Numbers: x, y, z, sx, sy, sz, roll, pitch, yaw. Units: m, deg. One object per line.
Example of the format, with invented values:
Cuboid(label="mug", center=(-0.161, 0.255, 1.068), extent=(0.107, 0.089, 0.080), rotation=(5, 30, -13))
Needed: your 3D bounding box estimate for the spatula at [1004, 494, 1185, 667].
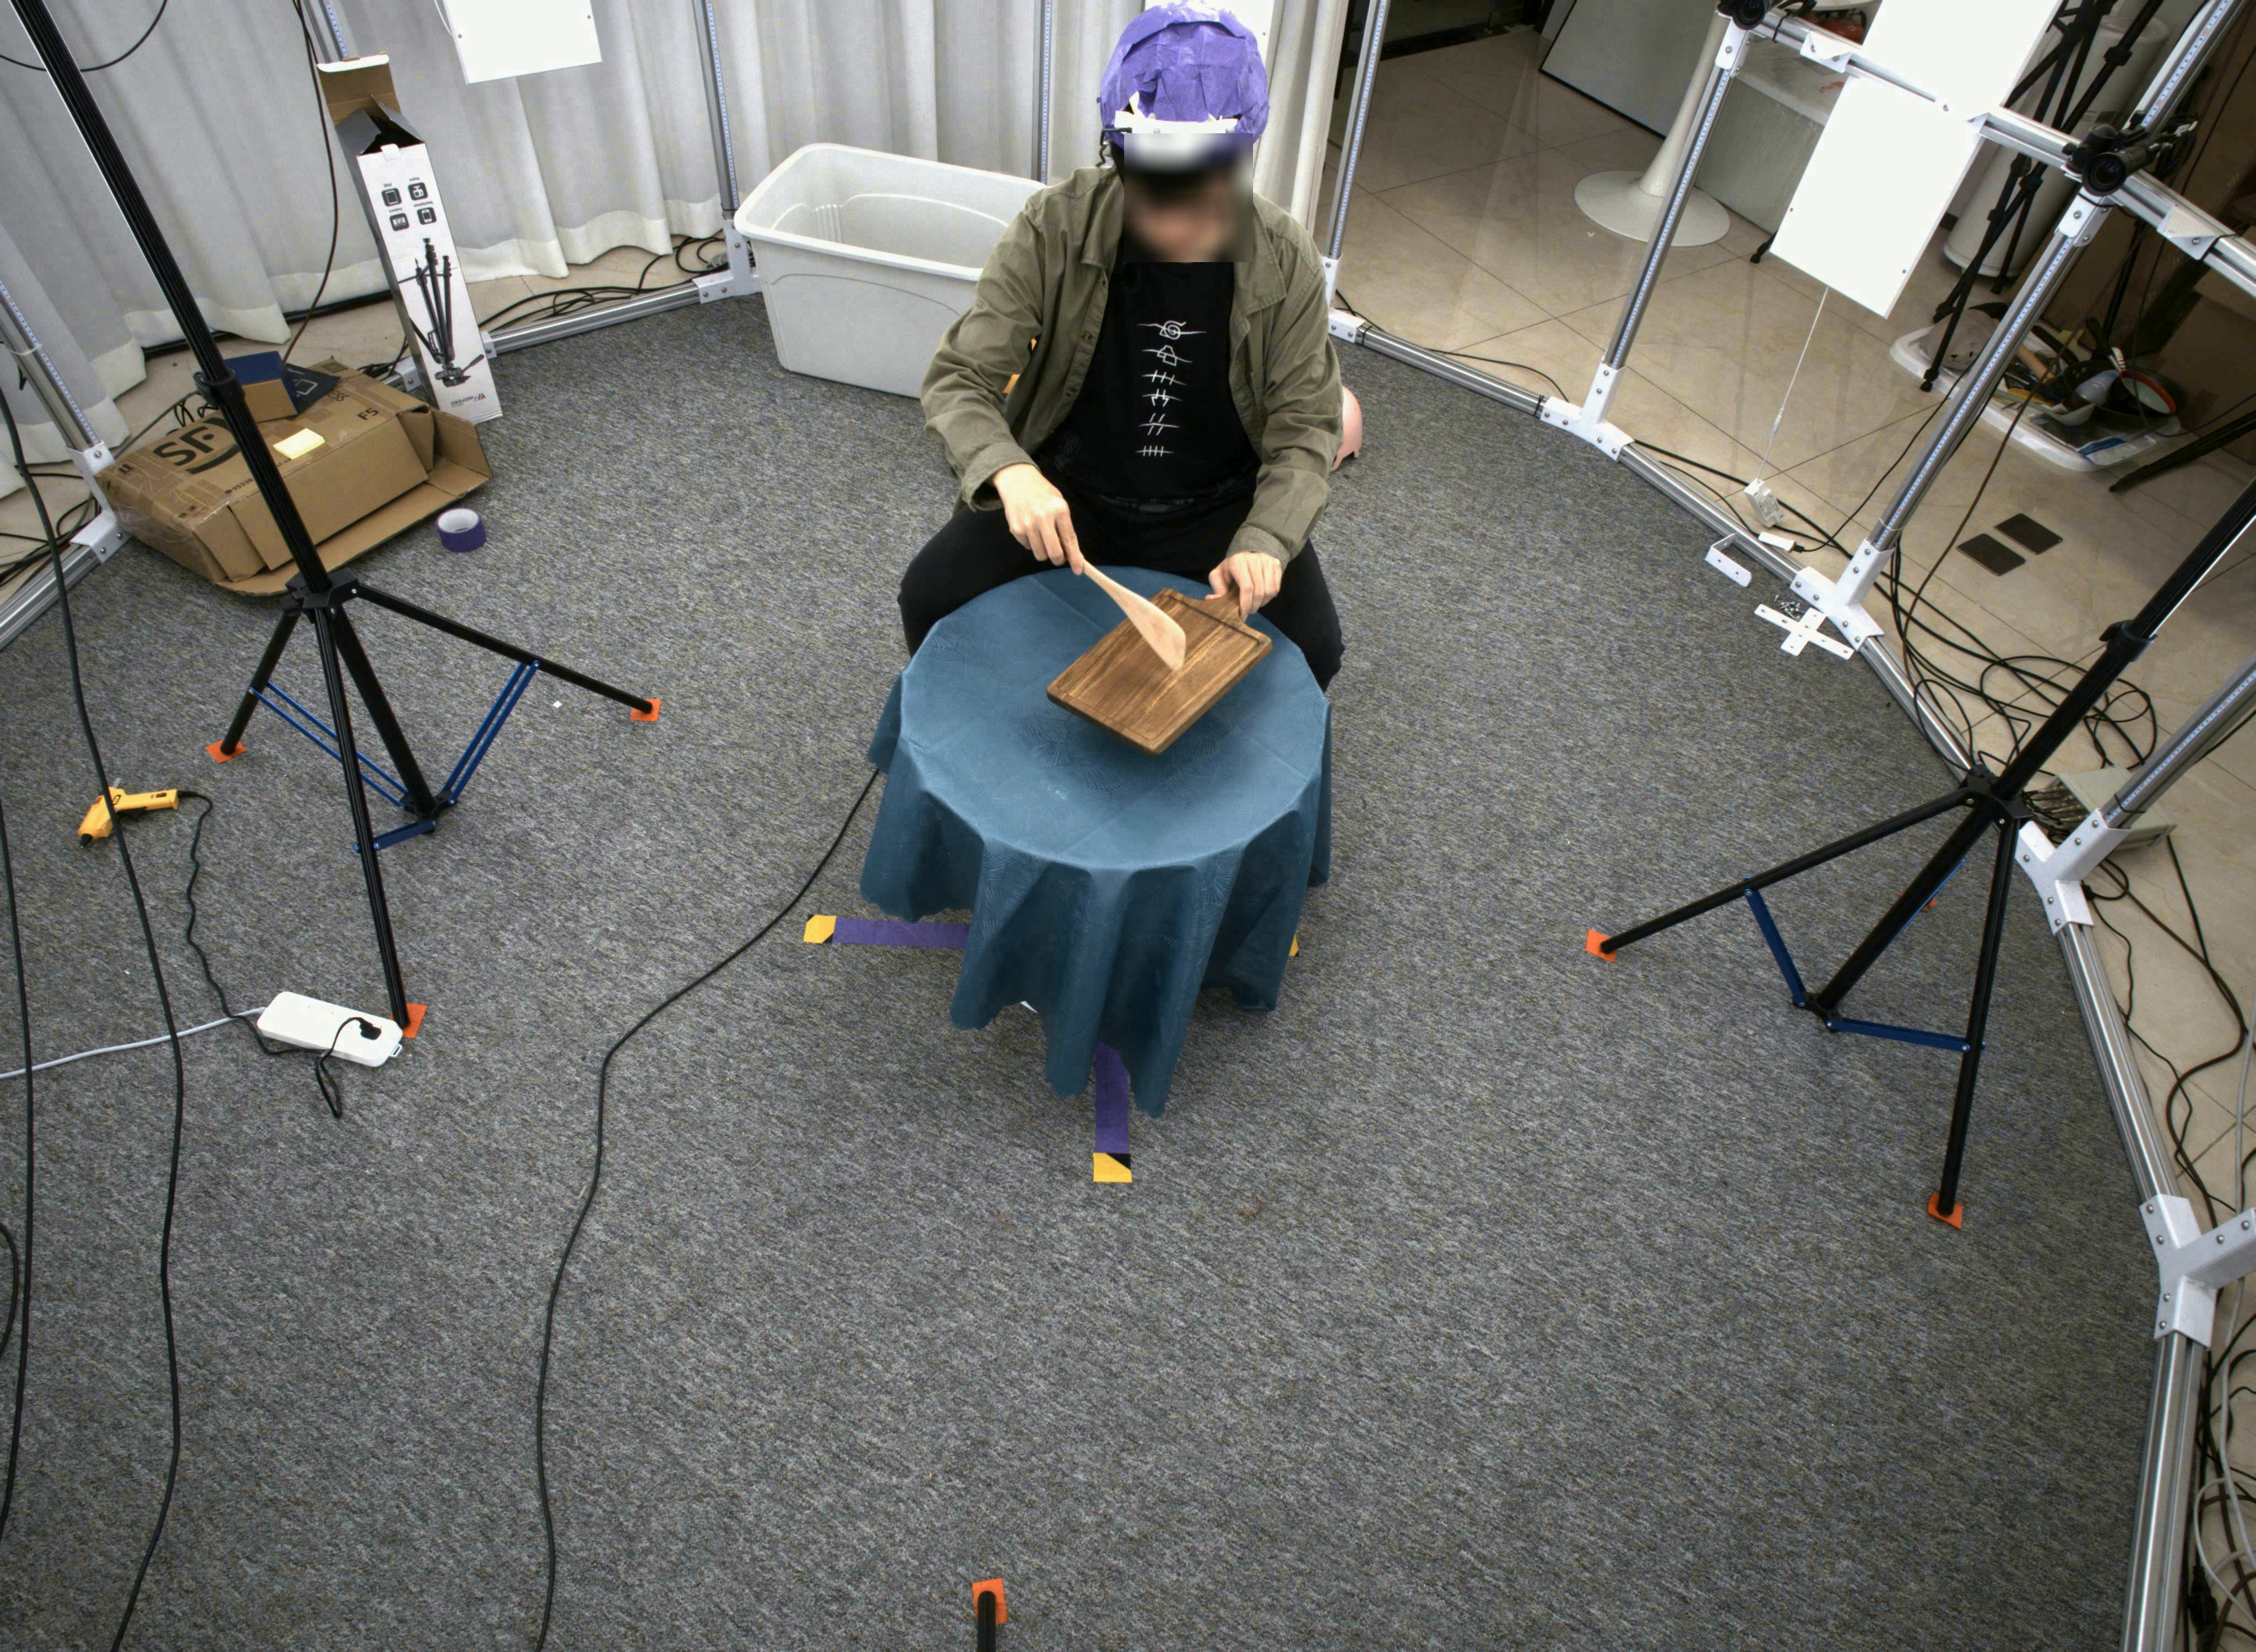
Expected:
Cuboid(label="spatula", center=(-0.044, -0.329, 1.671), extent=(0.330, 0.078, 0.017), rotation=(41, 61, 14))

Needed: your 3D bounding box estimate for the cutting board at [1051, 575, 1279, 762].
Cuboid(label="cutting board", center=(0.083, -0.235, 1.730), extent=(0.204, 0.022, 0.355), rotation=(32, 61, 31))
